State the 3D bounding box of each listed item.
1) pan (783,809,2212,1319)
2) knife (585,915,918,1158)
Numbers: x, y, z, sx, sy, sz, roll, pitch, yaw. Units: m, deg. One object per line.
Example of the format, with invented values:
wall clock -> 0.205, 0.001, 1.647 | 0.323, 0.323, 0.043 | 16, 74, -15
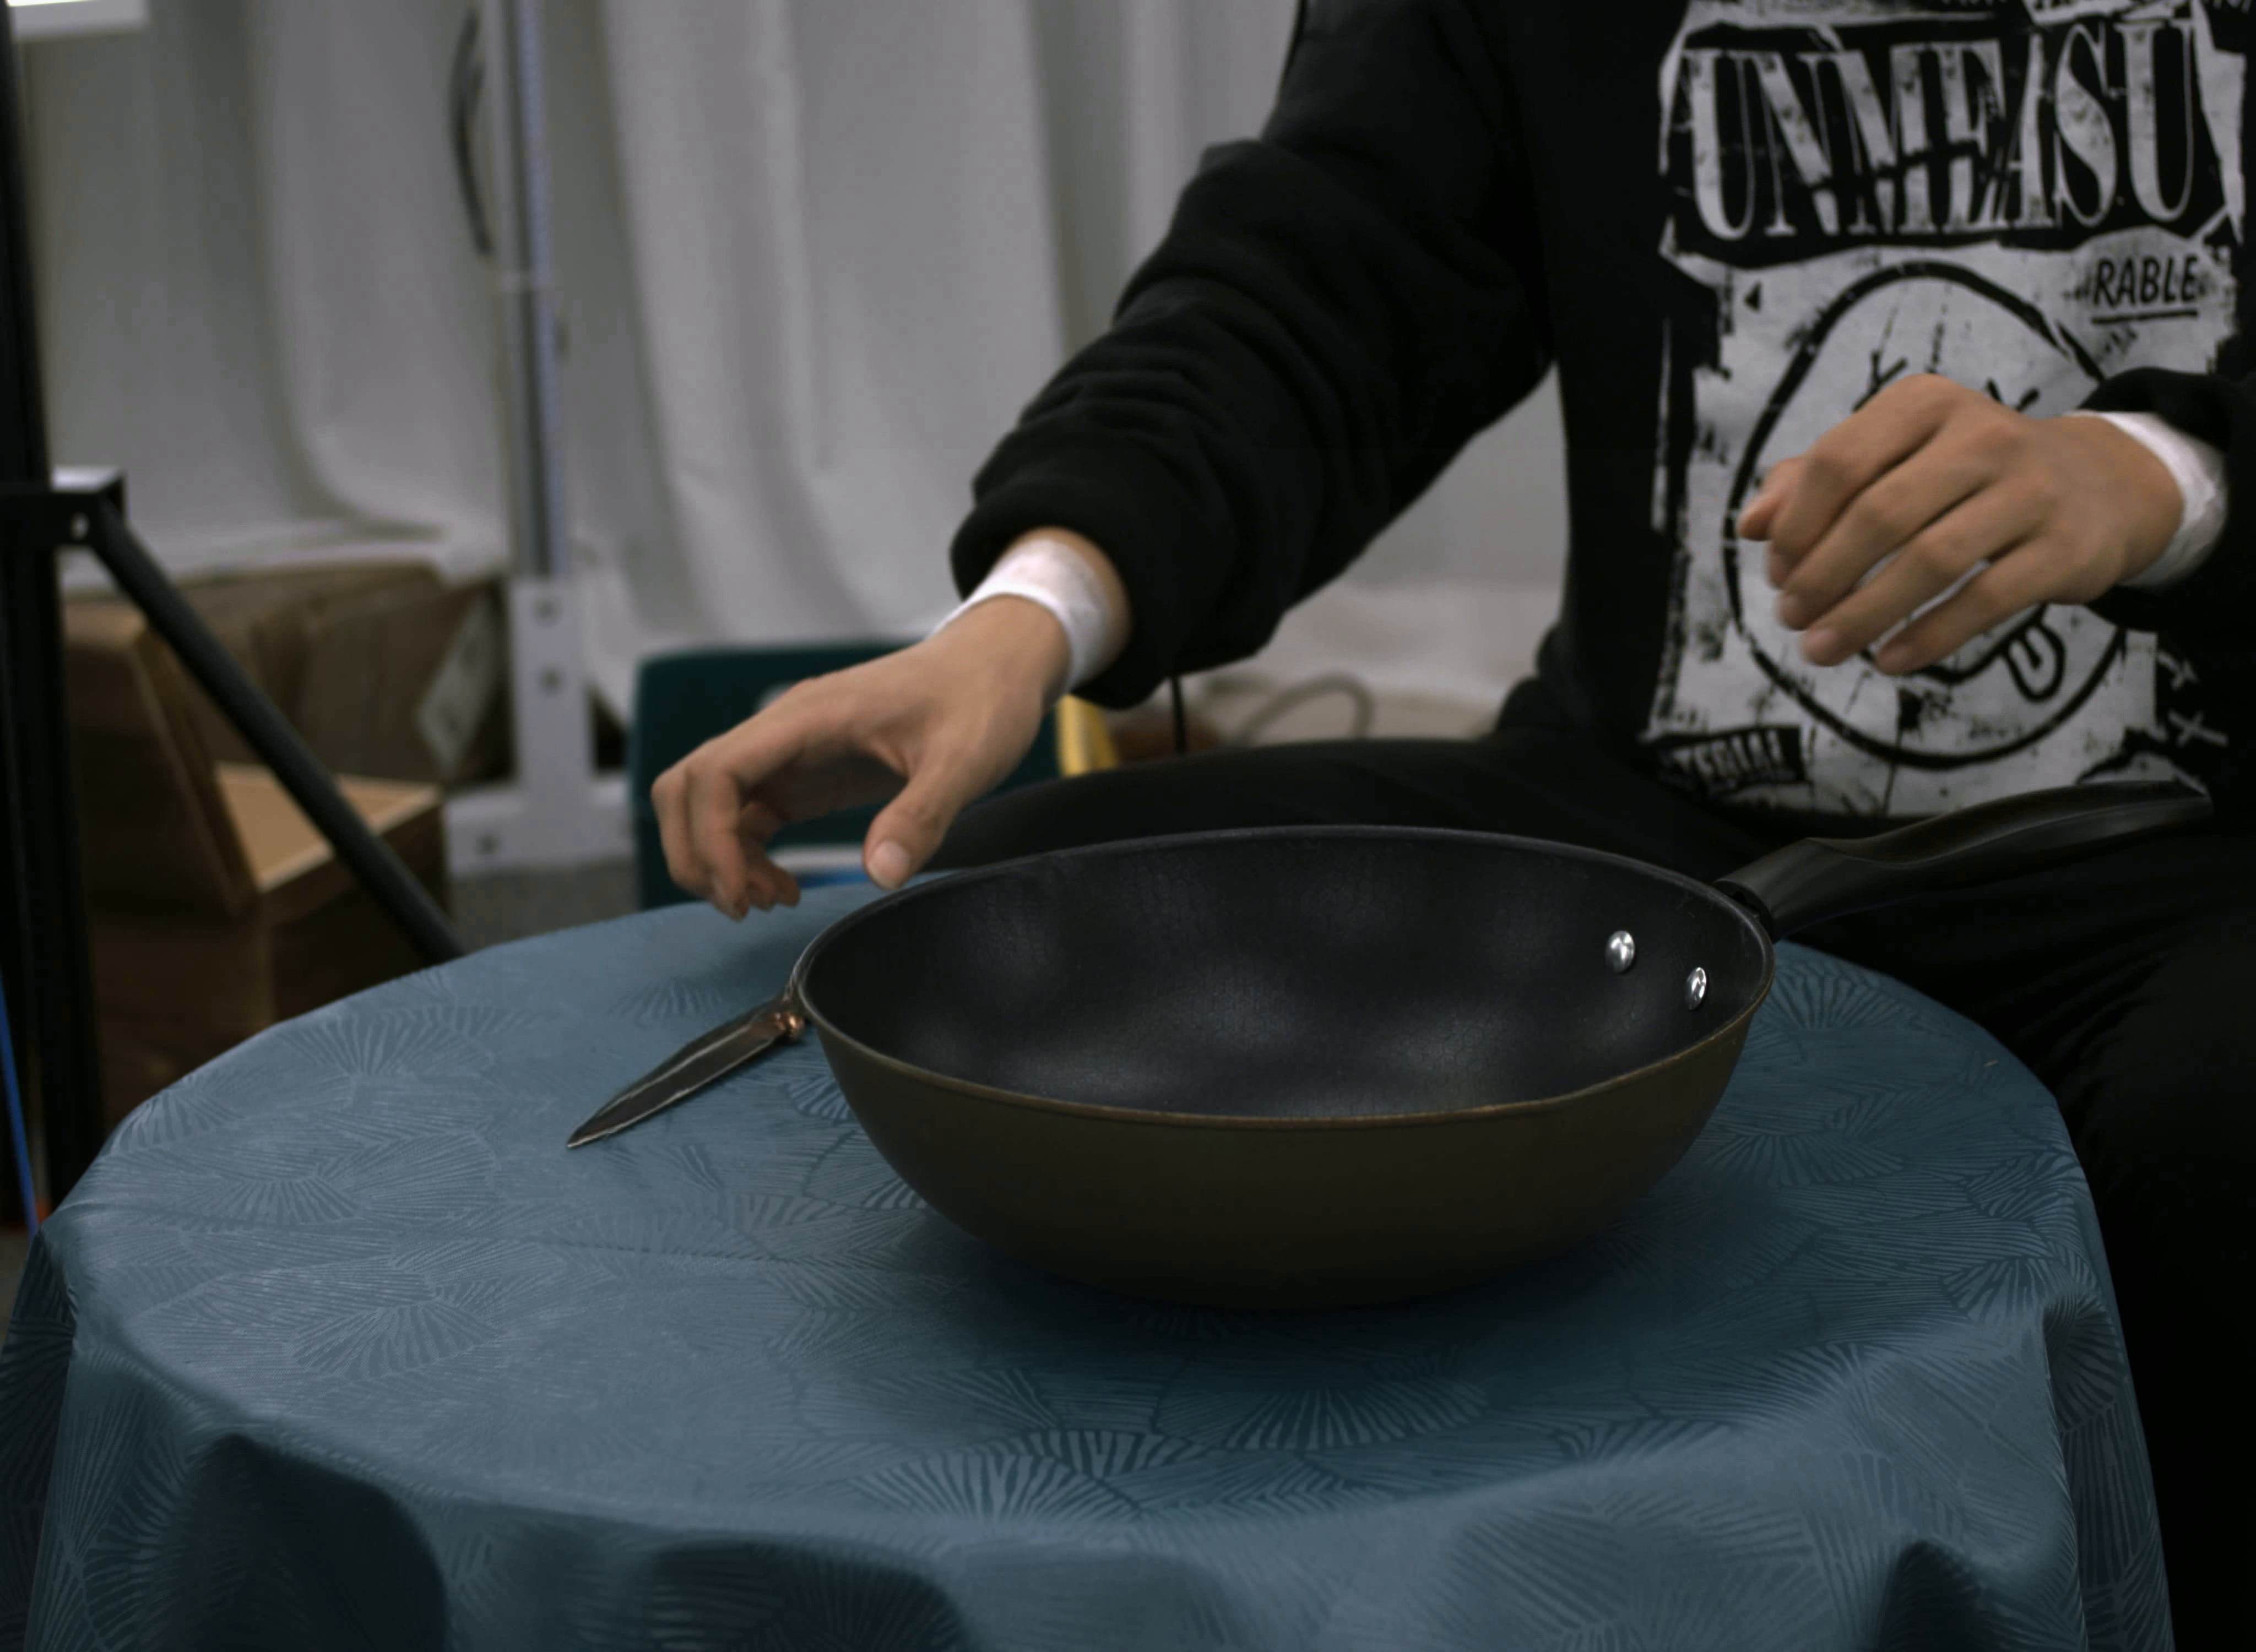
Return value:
pan -> 0.123, 0.063, 1.549 | 0.454, 0.087, 0.294 | -9, 17, -25
knife -> -0.118, 0.067, 1.706 | 0.026, 0.017, 0.222 | 20, 25, 21
